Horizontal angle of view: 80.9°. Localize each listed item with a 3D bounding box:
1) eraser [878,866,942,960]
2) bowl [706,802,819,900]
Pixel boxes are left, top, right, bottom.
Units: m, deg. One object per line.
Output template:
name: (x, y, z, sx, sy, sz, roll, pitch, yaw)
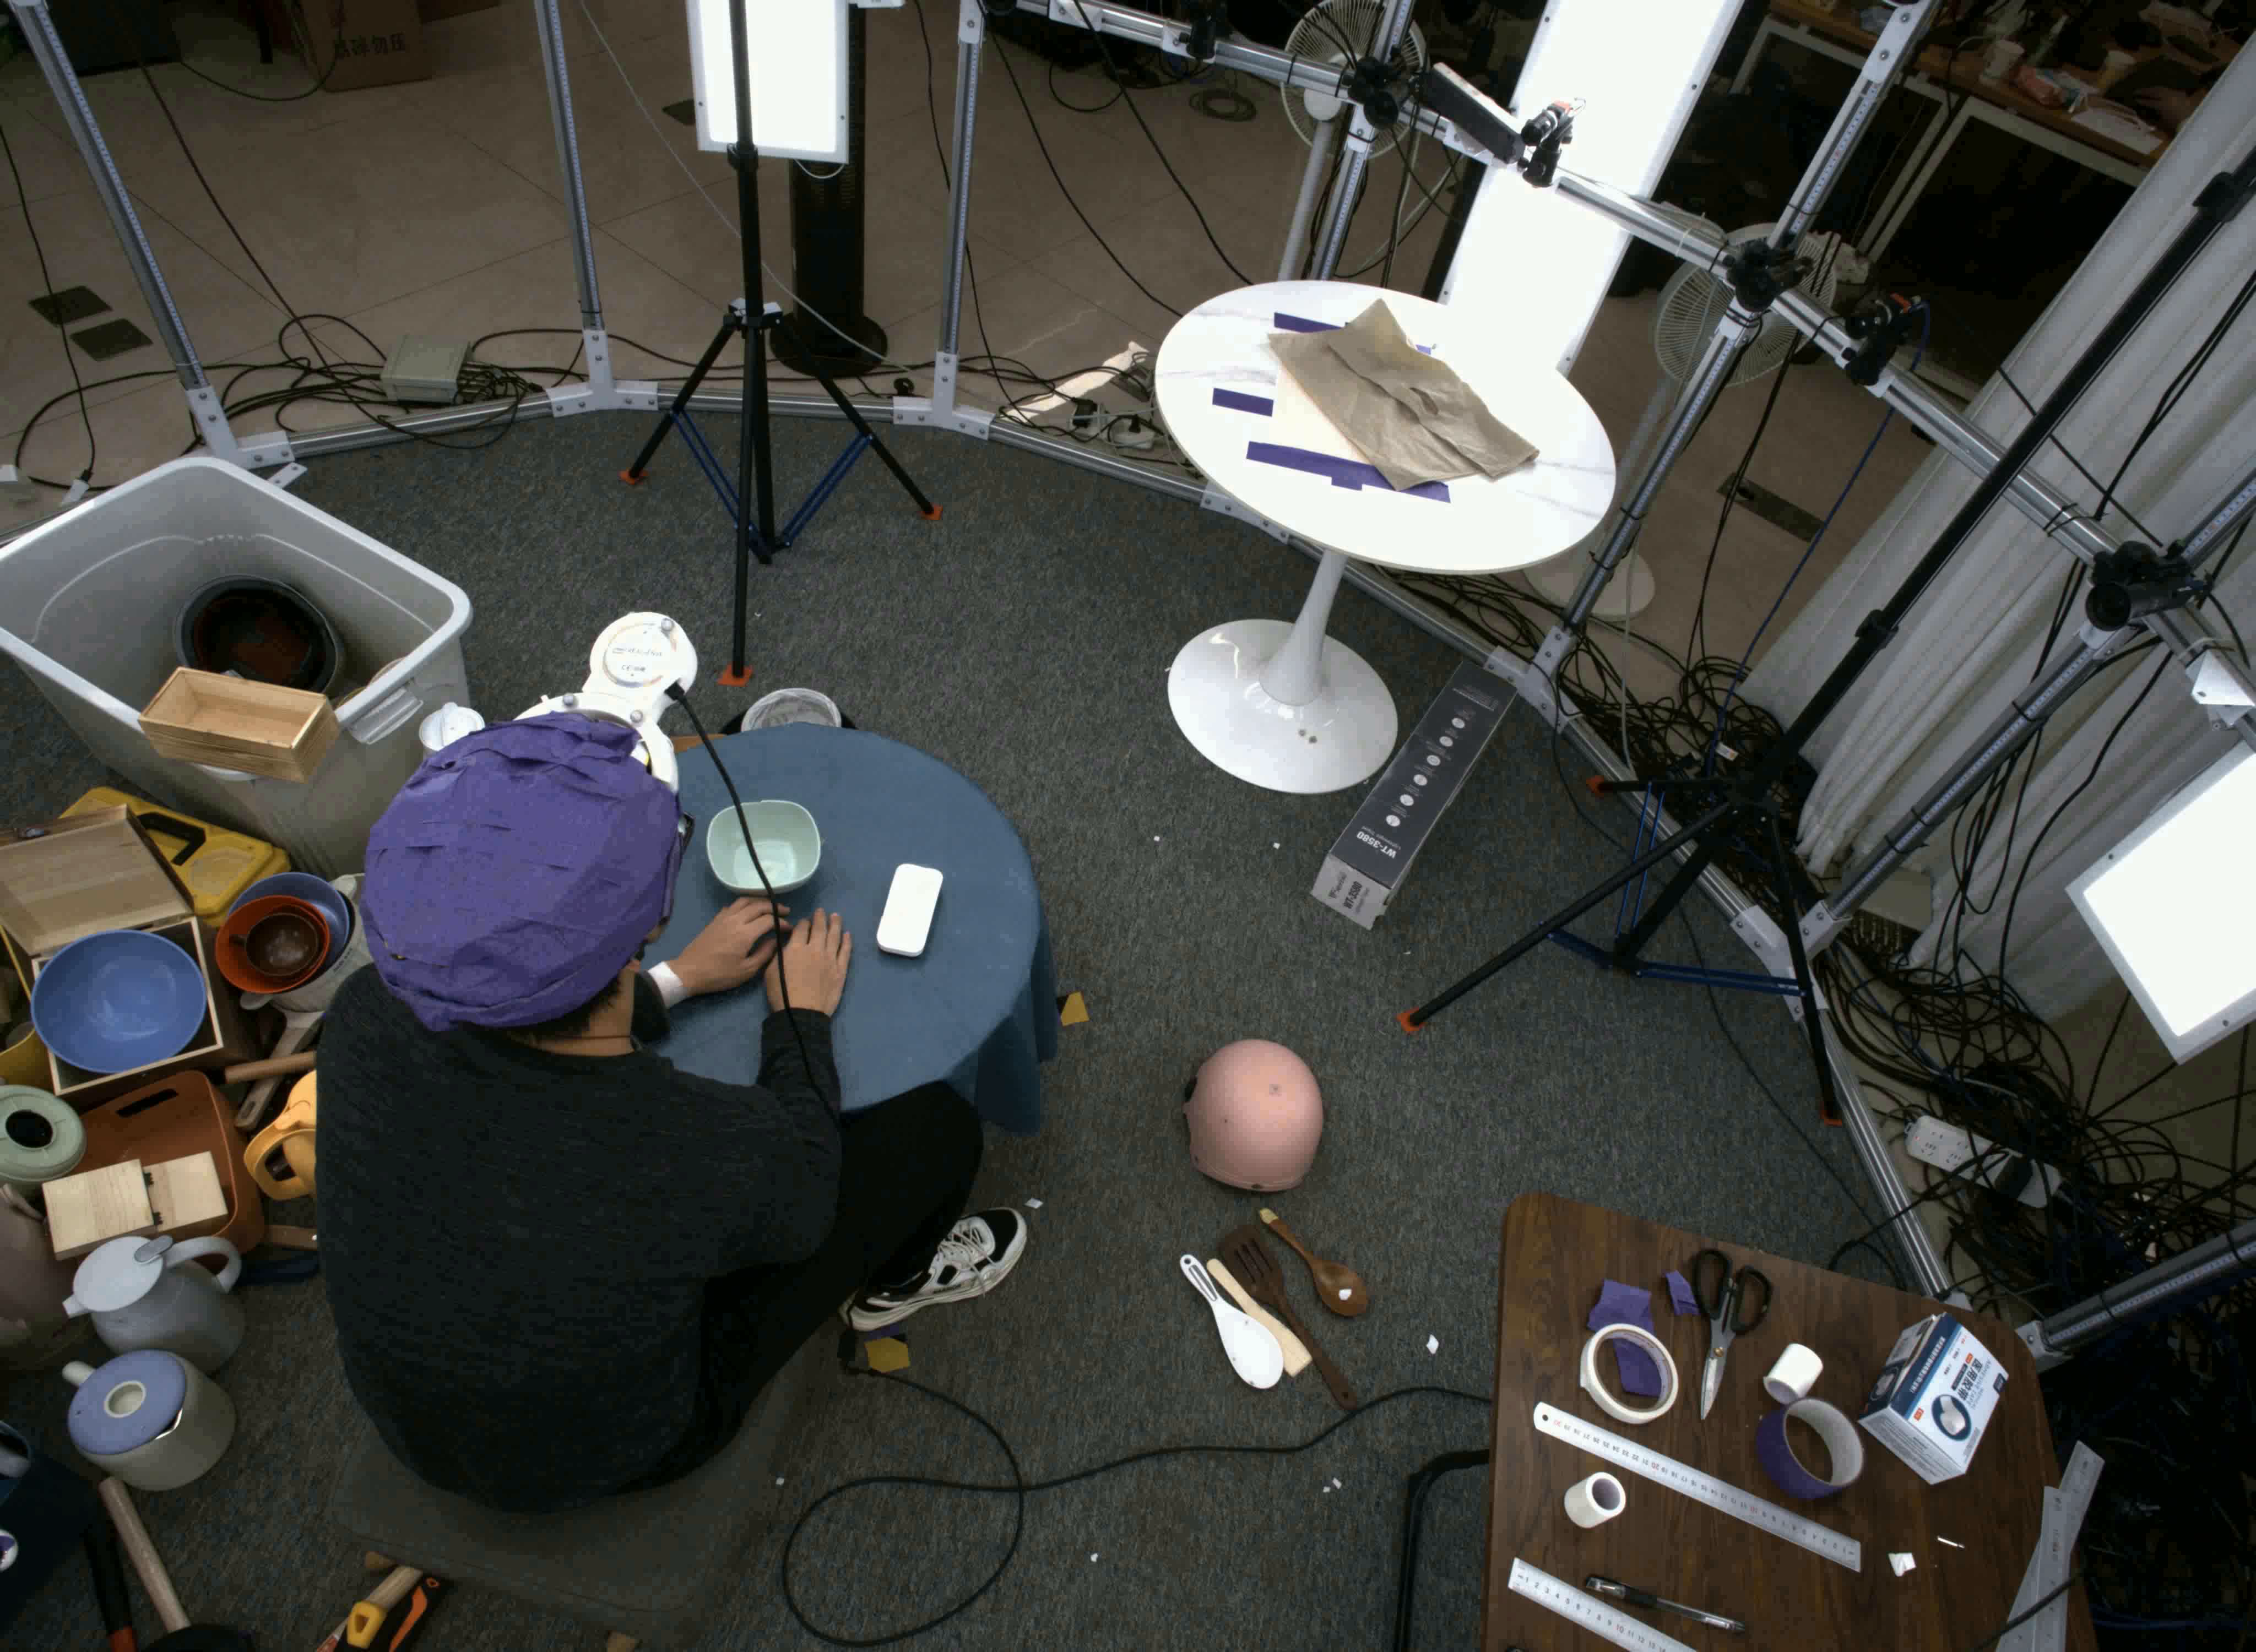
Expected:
eraser: (-0.278, 0.106, 1.658, 0.063, 0.035, 0.129, 11, 50, -3)
bowl: (-0.463, 0.040, 1.644, 0.151, 0.060, 0.148, 8, 50, -8)
